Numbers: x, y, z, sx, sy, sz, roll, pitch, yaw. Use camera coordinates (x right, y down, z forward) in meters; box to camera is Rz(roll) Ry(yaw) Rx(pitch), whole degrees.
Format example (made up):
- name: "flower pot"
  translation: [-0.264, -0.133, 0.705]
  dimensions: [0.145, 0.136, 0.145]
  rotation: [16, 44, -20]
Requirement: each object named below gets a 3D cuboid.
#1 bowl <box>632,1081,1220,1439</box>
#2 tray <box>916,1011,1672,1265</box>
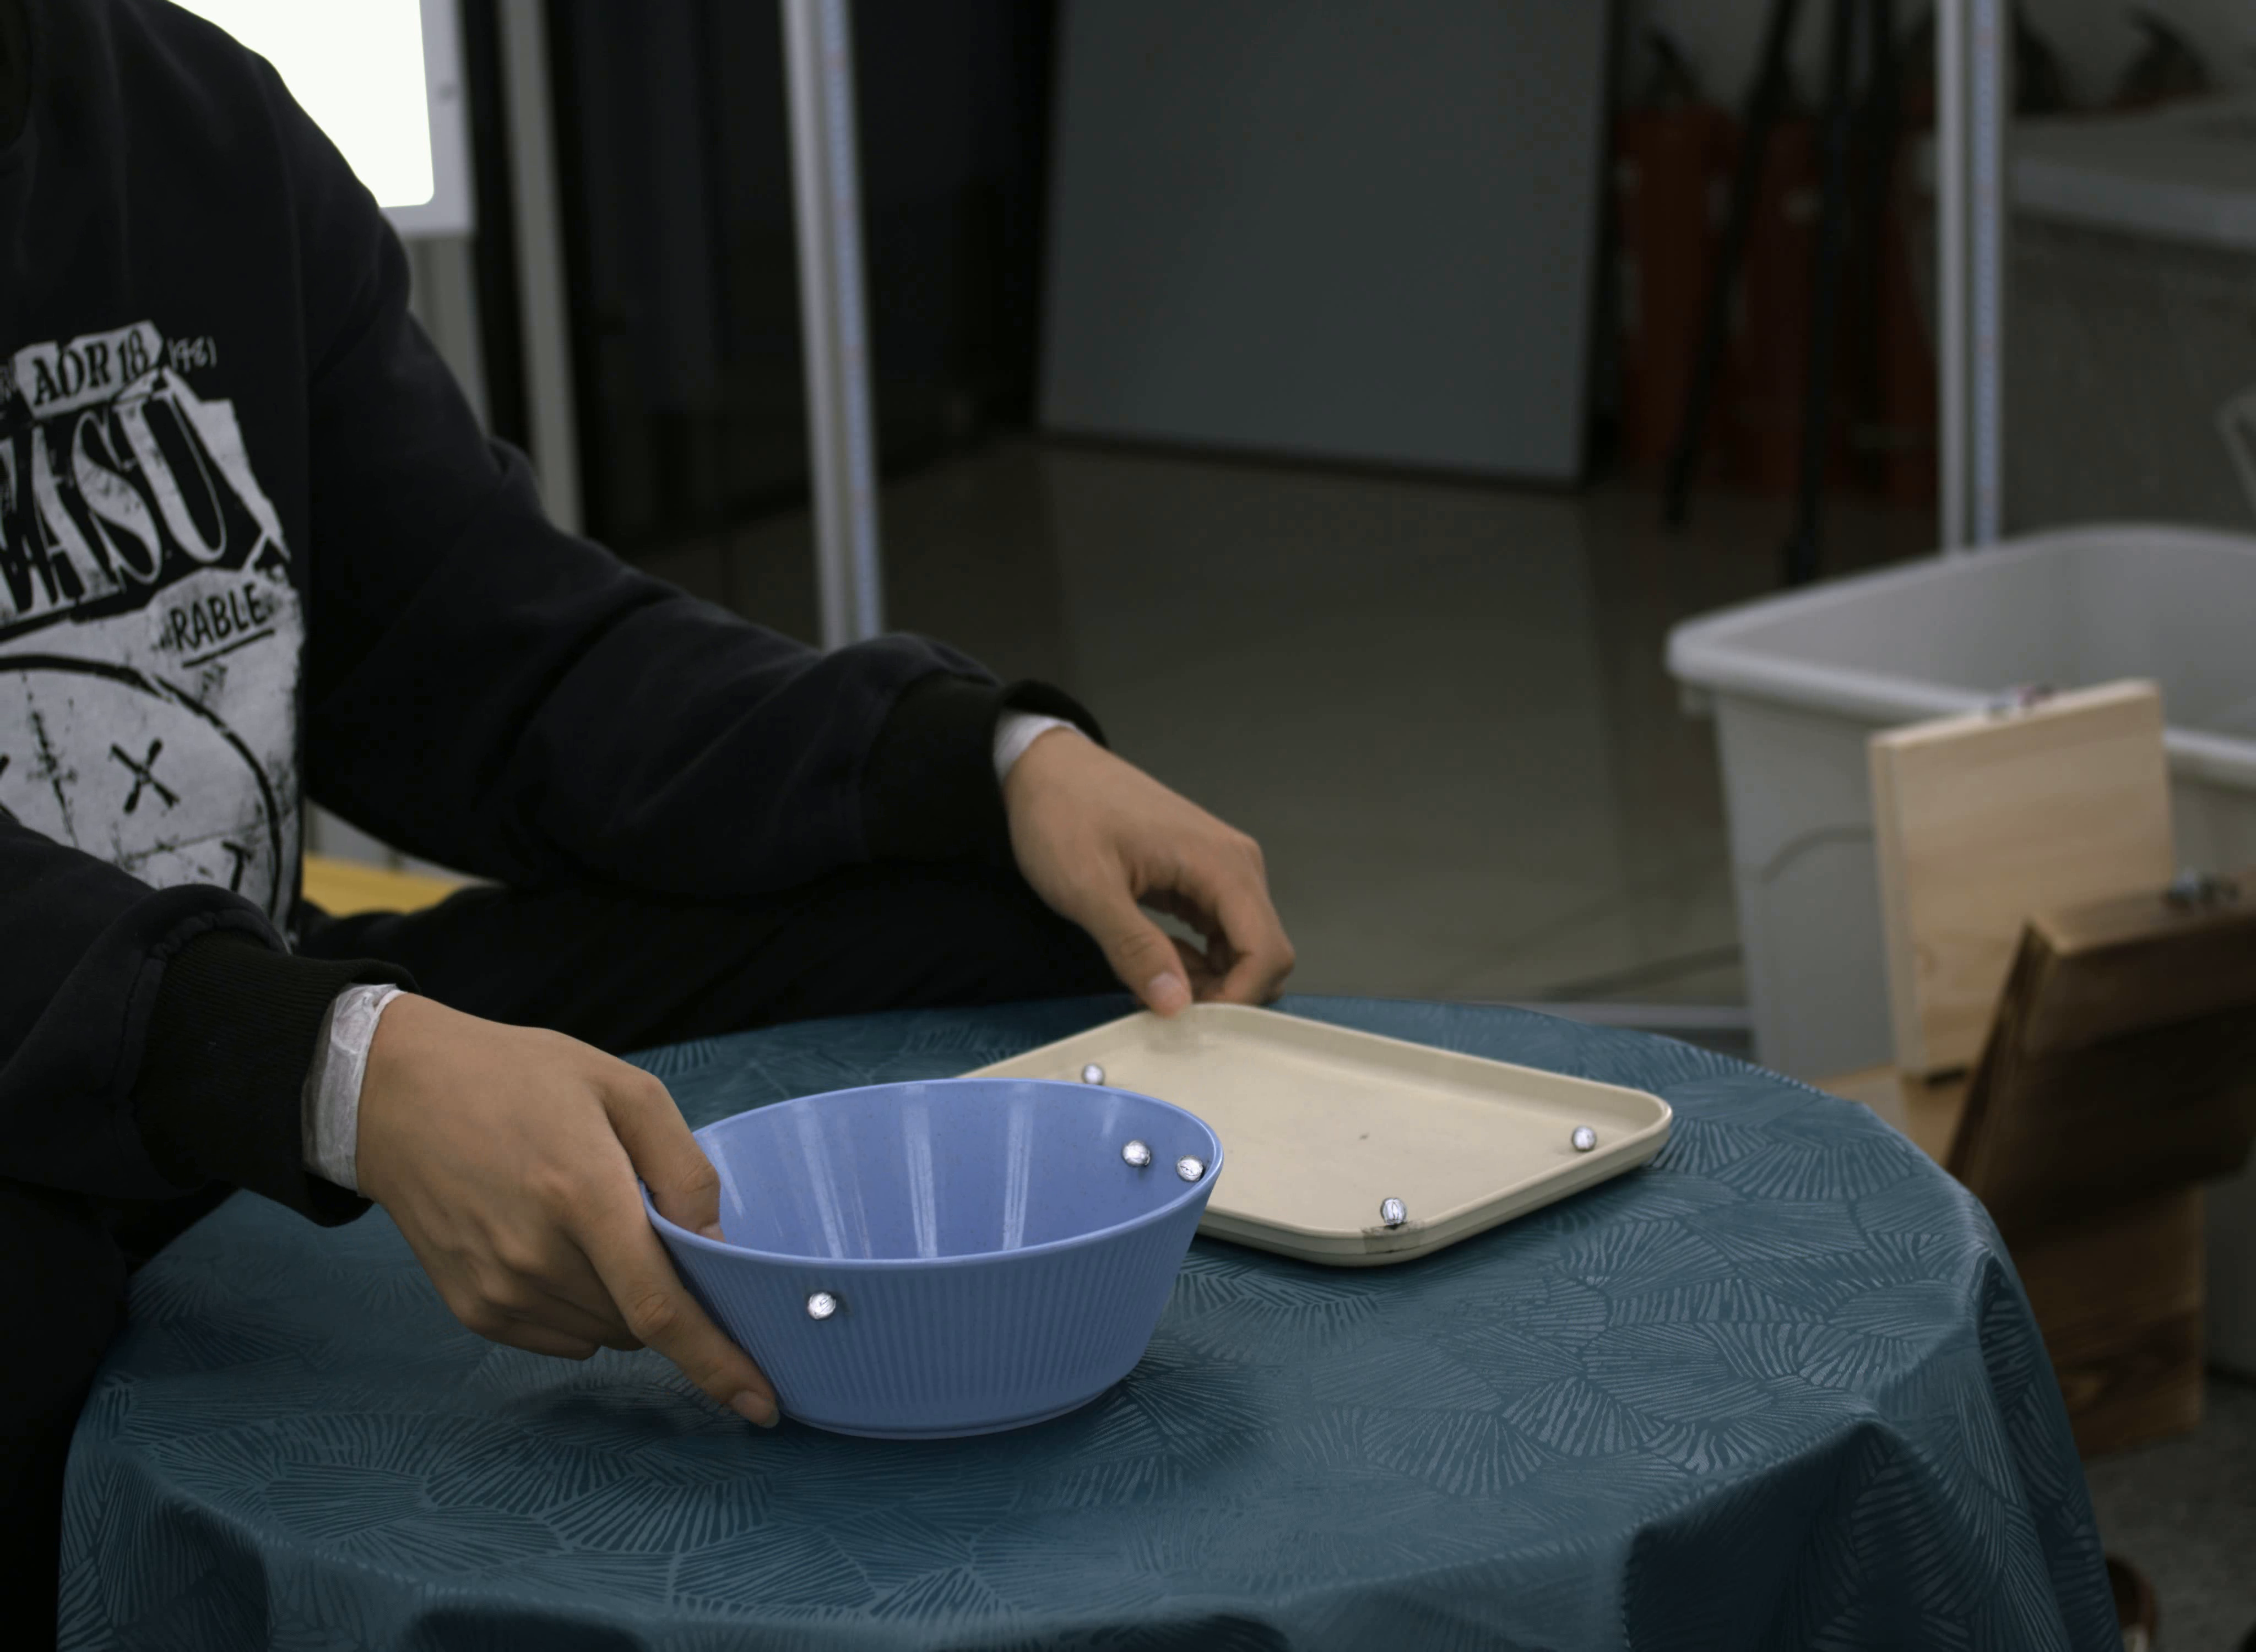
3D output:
- name: "bowl"
  translation: [-0.058, 0.131, 1.601]
  dimensions: [0.174, 0.071, 0.176]
  rotation: [-3, 14, 0]
- name: "tray"
  translation: [0.050, 0.103, 1.794]
  dimensions: [0.168, 0.017, 0.242]
  rotation: [-16, 18, -42]
